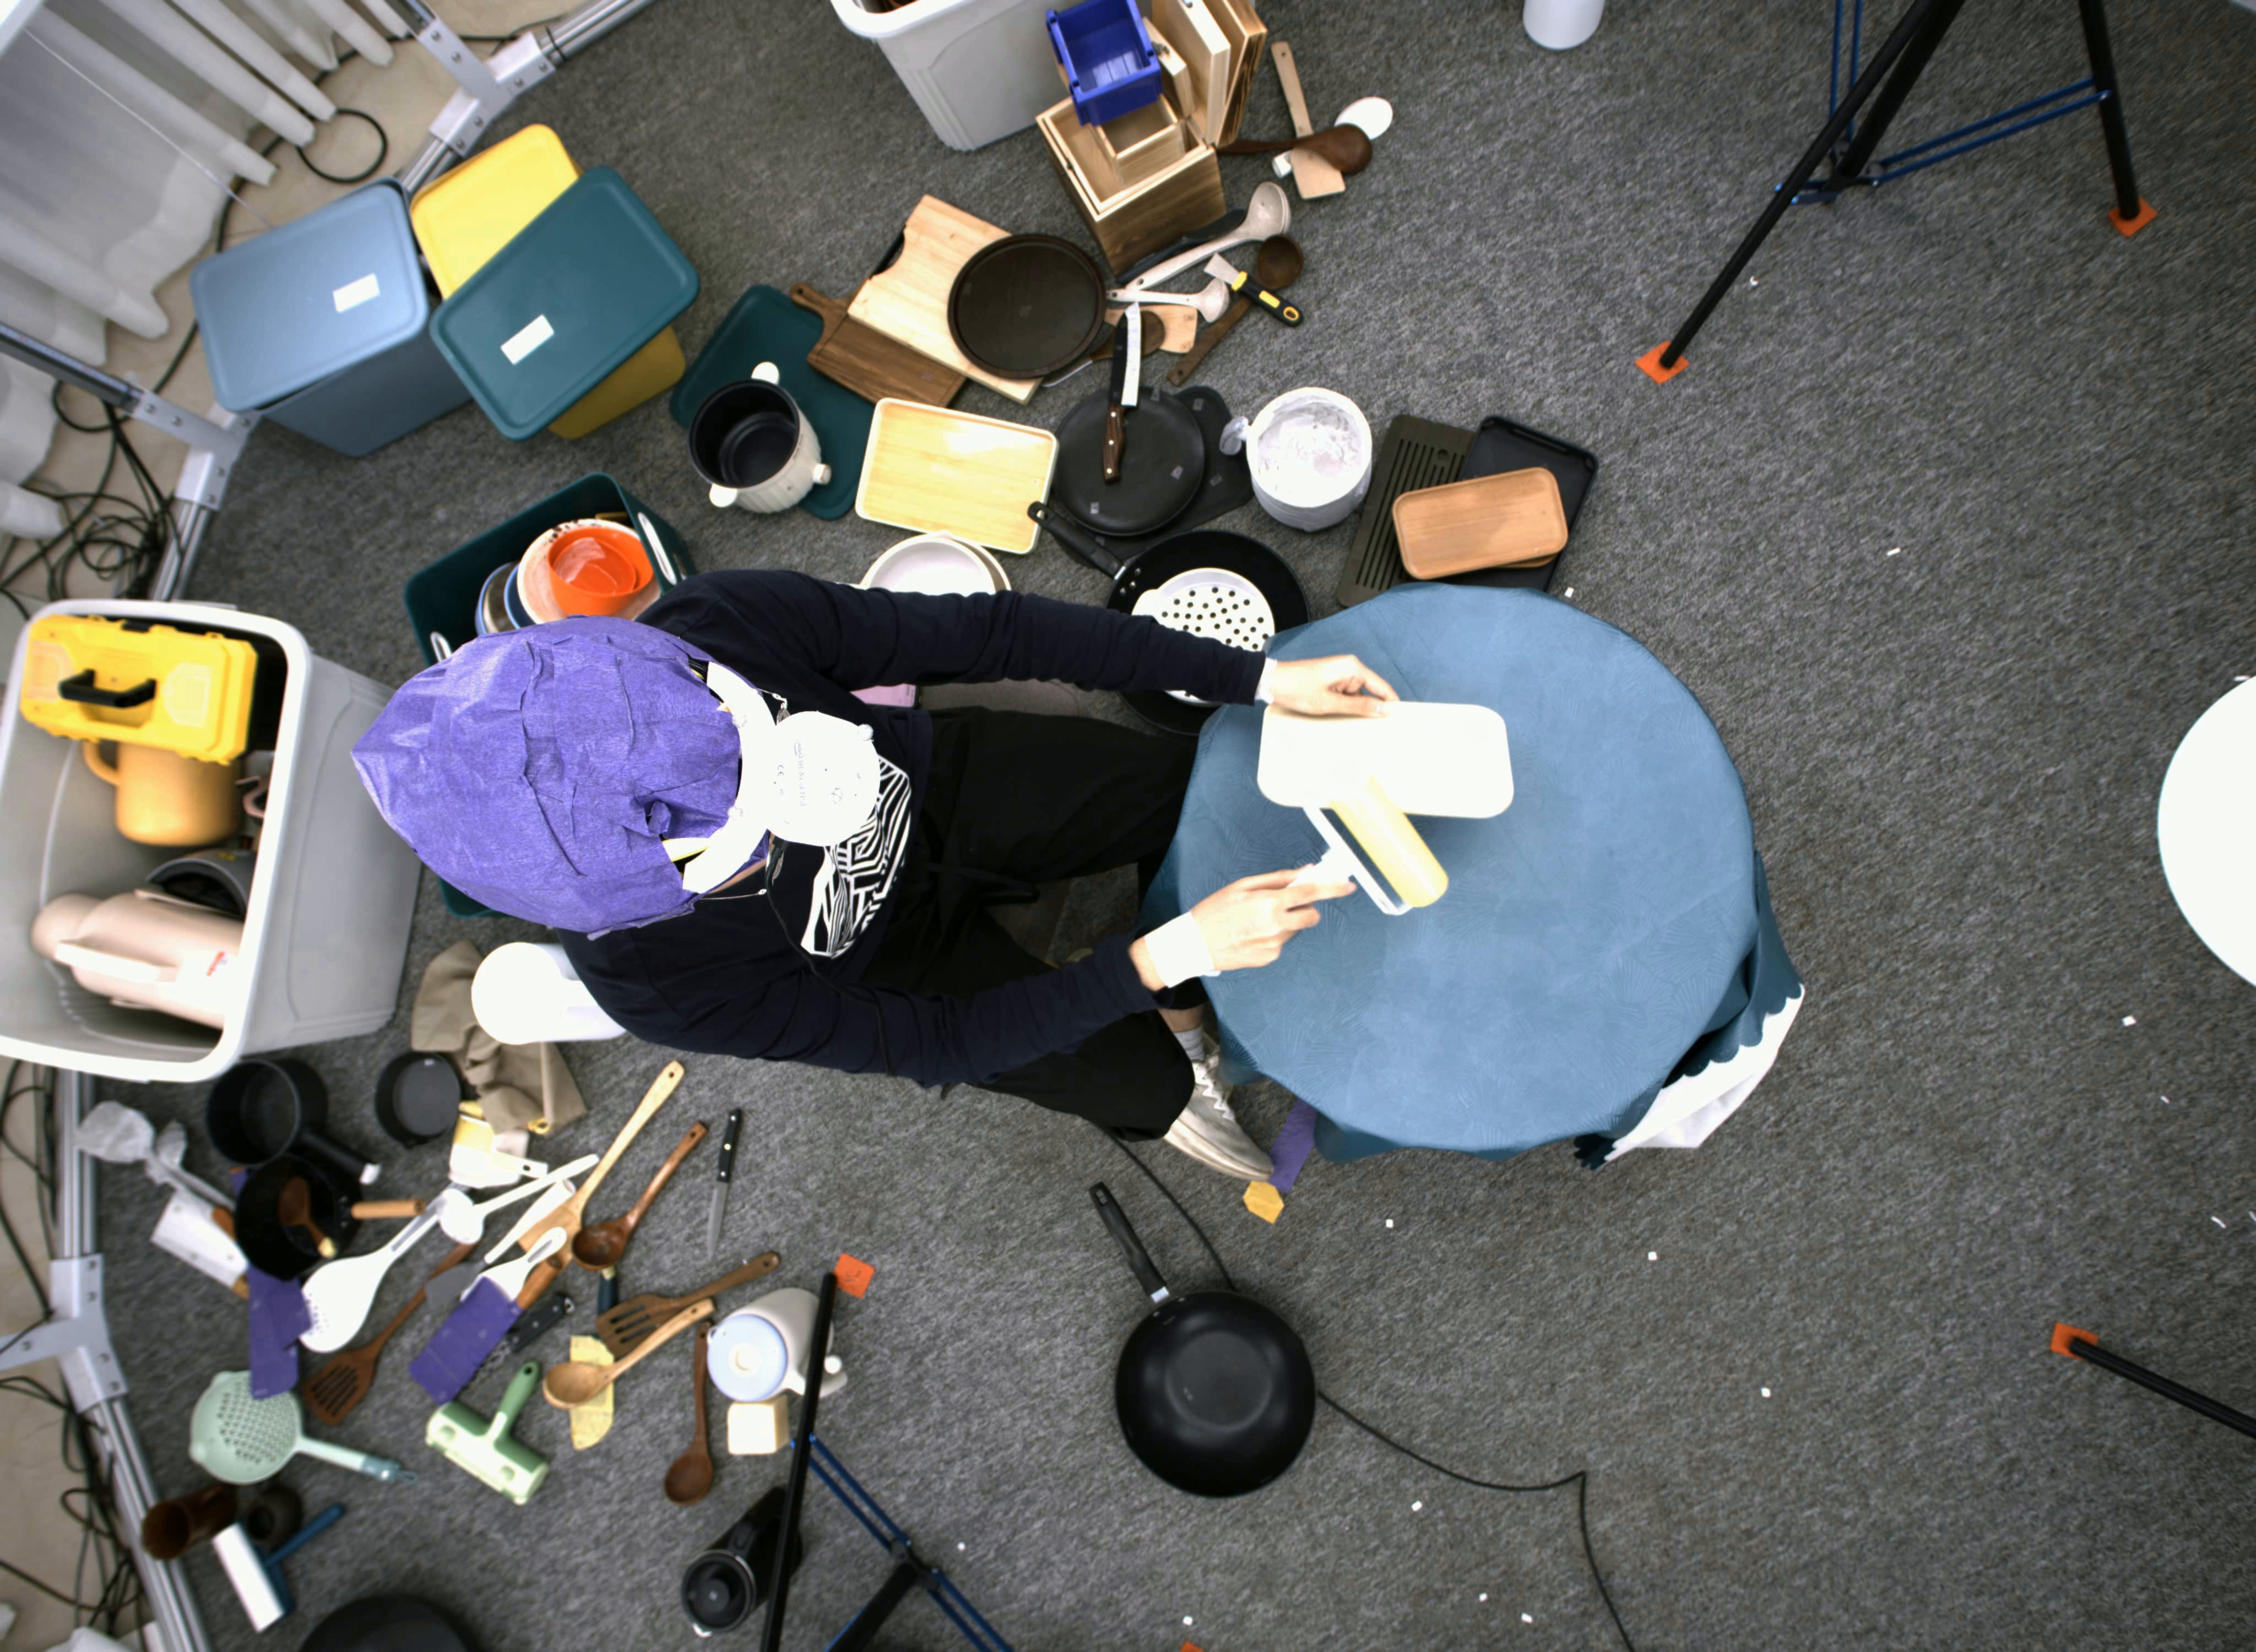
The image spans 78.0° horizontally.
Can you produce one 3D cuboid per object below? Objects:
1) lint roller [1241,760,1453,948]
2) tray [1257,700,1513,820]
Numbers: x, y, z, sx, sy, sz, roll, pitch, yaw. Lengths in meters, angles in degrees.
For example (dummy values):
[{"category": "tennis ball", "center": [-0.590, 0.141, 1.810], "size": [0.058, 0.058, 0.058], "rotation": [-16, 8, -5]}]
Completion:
[{"category": "lint roller", "center": [0.187, 0.054, 1.273], "size": [0.193, 0.050, 0.176], "rotation": [-41, 123, 5]}, {"category": "tray", "center": [0.247, -0.066, 1.334], "size": [0.240, 0.166, 0.018], "rotation": [4, 130, 8]}]
